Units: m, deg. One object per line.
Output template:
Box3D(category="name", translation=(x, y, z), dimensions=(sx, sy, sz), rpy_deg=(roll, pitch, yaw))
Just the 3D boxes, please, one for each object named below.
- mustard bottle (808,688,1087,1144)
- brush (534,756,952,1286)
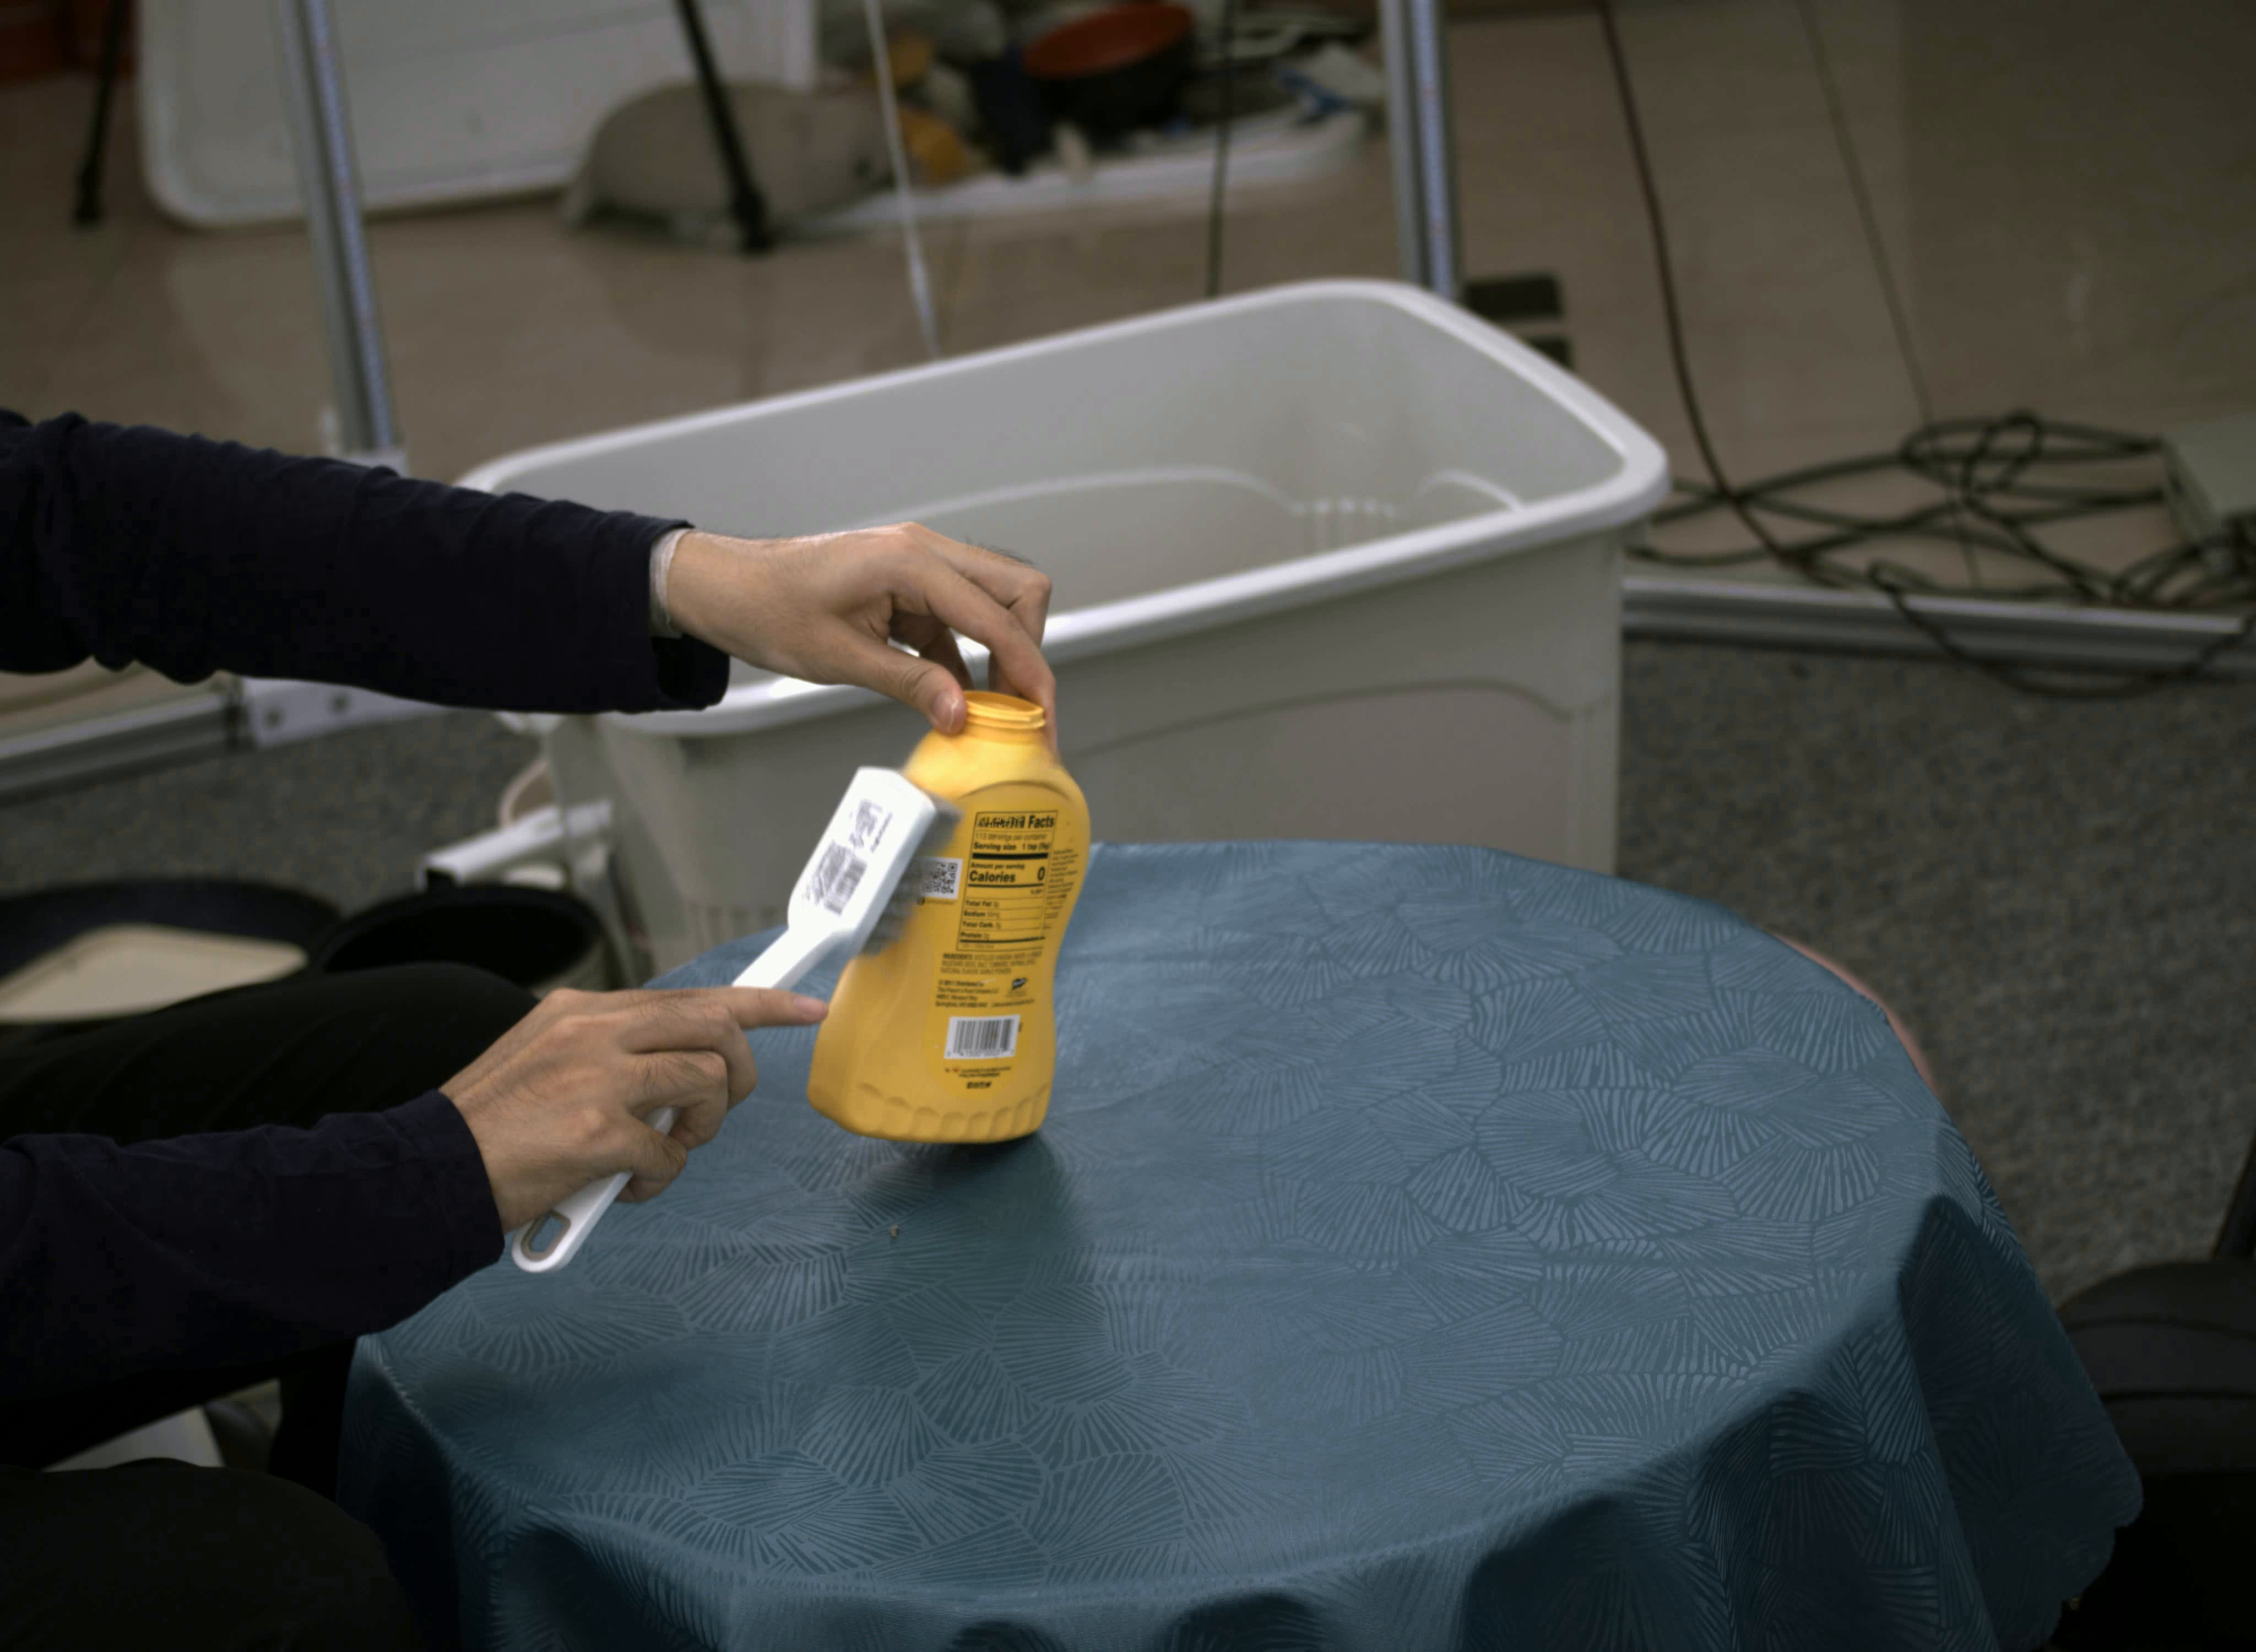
Box3D(category="mustard bottle", translation=(-0.065, 0.034, 2.162), dimensions=(0.098, 0.173, 0.059), rpy_deg=(-2, 16, -40))
Box3D(category="brush", translation=(-0.140, 0.075, 2.071), dimensions=(0.034, 0.051, 0.241), rpy_deg=(25, 70, 22))
